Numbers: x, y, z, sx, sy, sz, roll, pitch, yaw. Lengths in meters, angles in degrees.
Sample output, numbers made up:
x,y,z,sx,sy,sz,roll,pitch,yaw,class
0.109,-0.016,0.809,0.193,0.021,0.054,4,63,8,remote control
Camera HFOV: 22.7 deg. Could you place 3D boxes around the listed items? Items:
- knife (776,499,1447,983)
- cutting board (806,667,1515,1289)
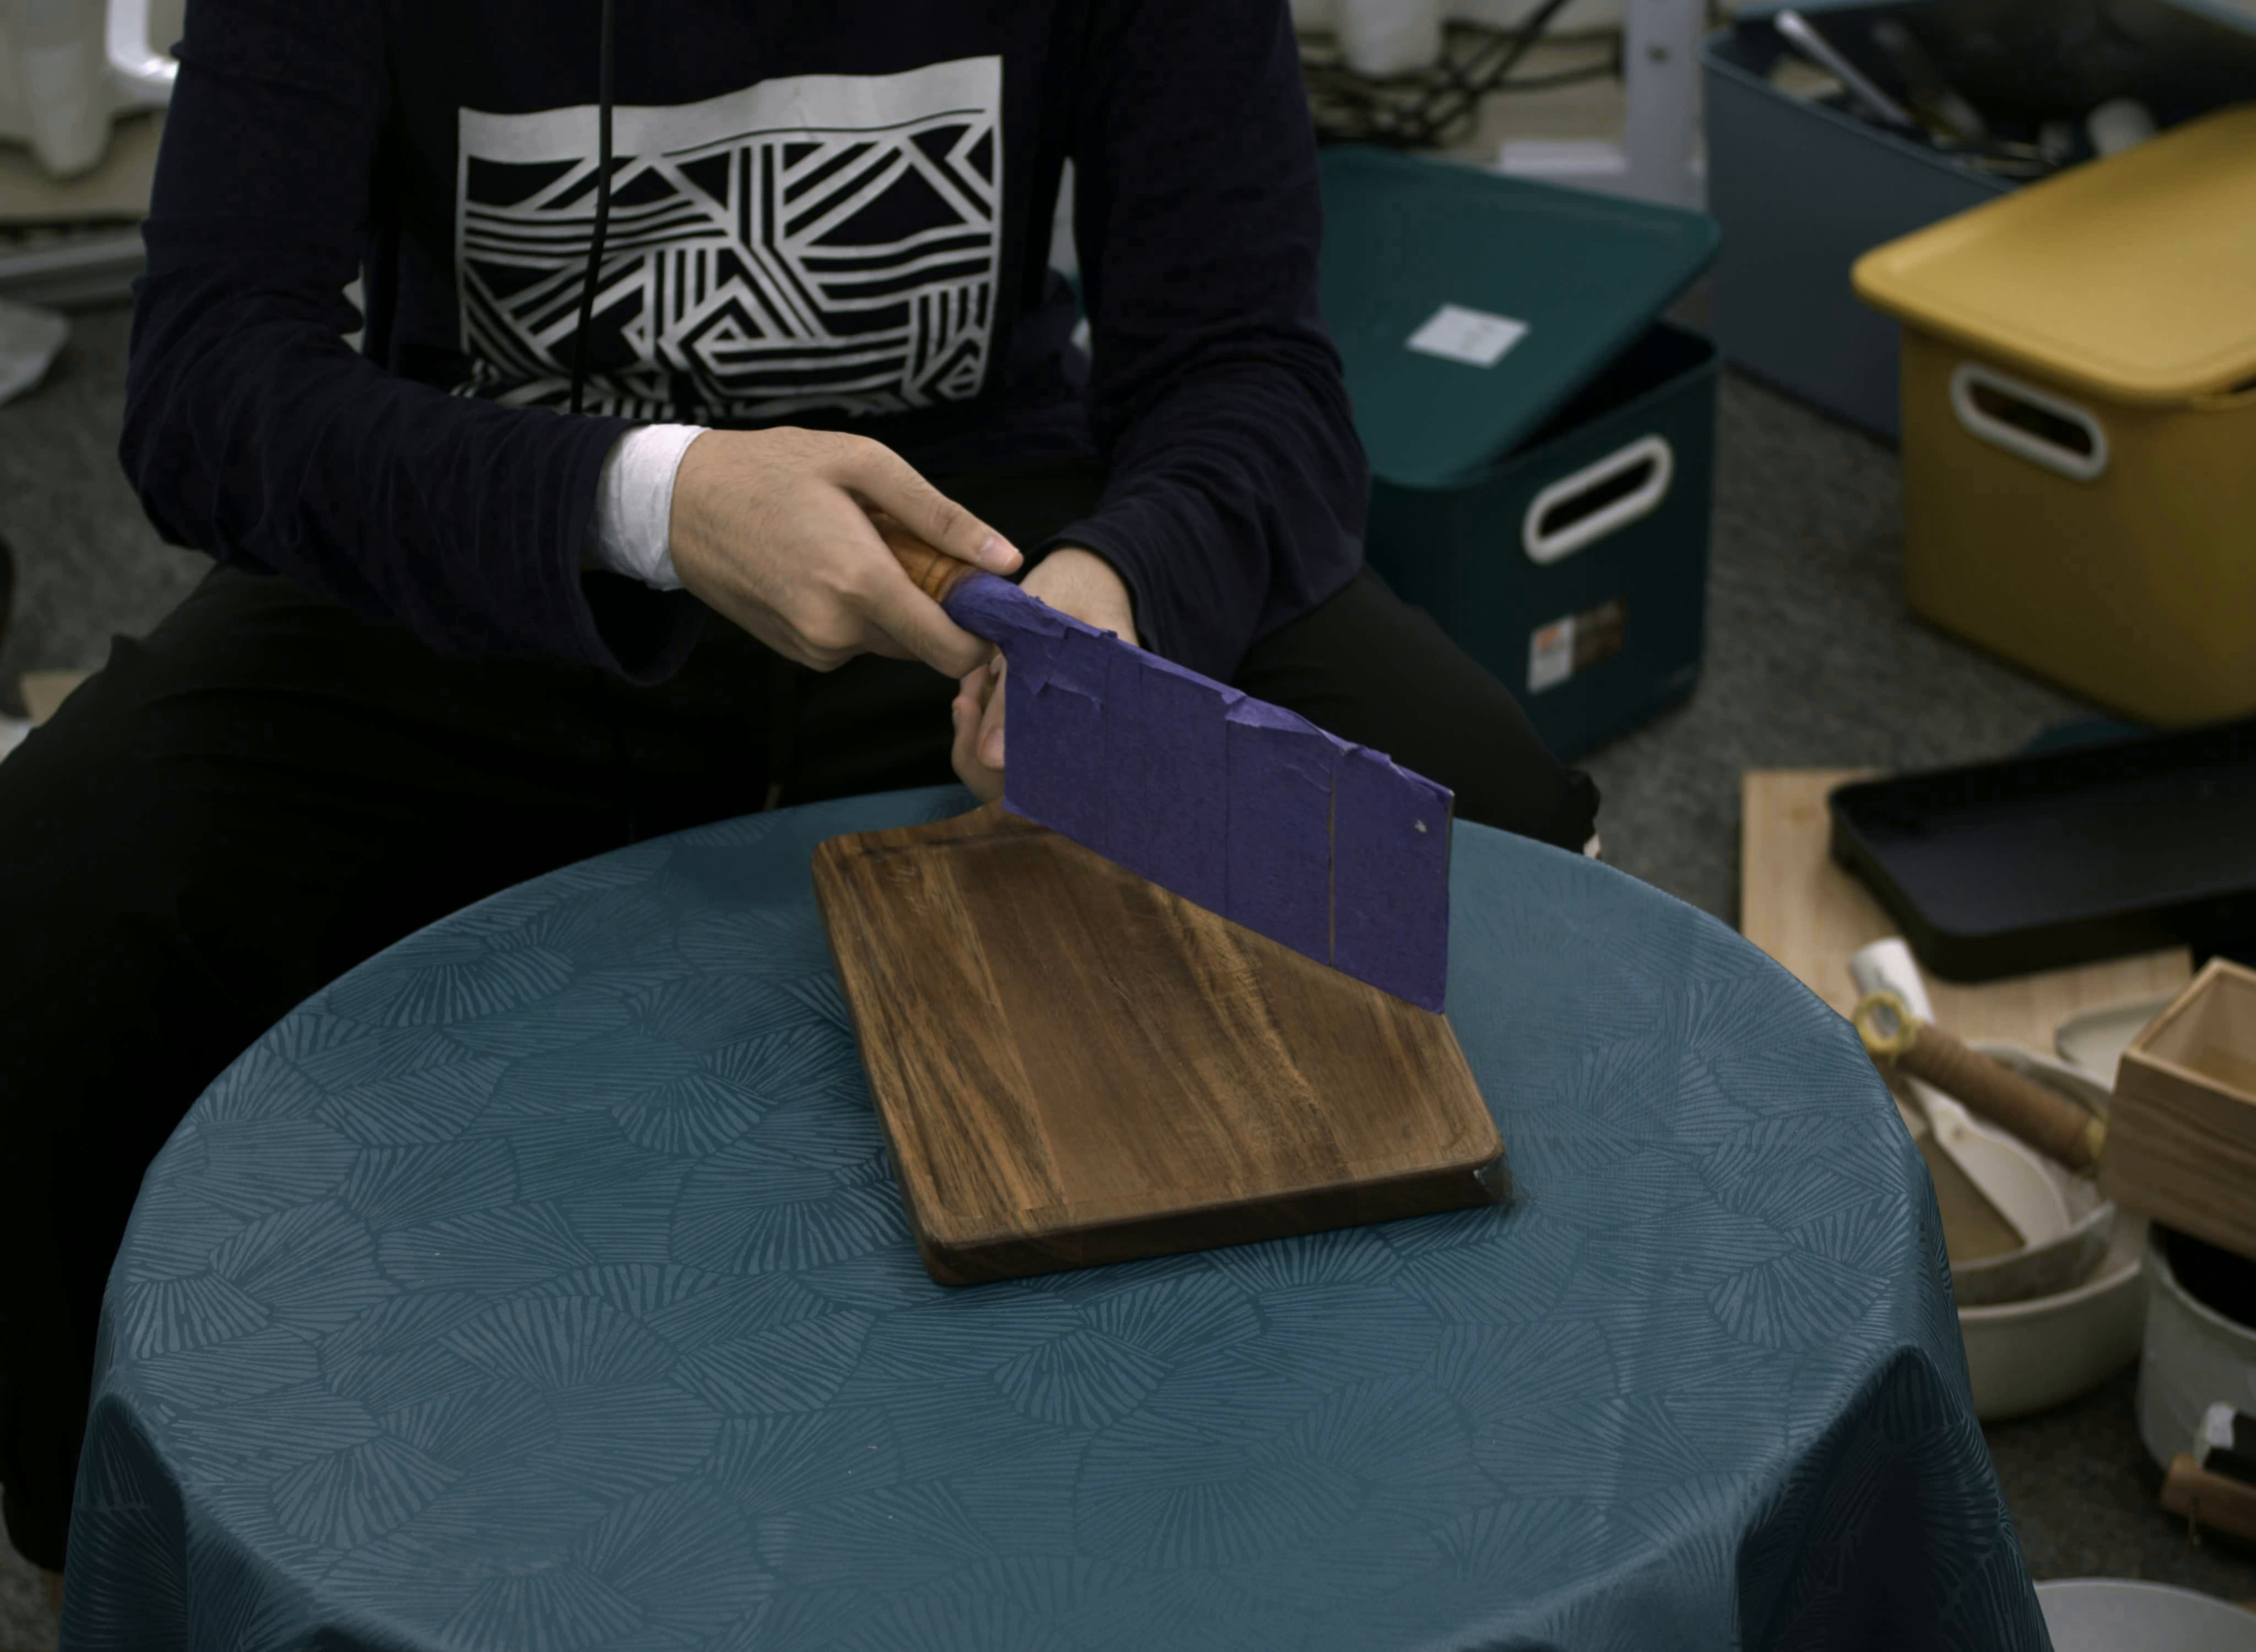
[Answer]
x,y,z,sx,sy,sz,roll,pitch,yaw,class
-0.009,-0.028,1.965,0.032,0.103,0.315,-22,34,-40,knife
-0.004,0.039,1.968,0.201,0.023,0.357,-8,32,-9,cutting board
